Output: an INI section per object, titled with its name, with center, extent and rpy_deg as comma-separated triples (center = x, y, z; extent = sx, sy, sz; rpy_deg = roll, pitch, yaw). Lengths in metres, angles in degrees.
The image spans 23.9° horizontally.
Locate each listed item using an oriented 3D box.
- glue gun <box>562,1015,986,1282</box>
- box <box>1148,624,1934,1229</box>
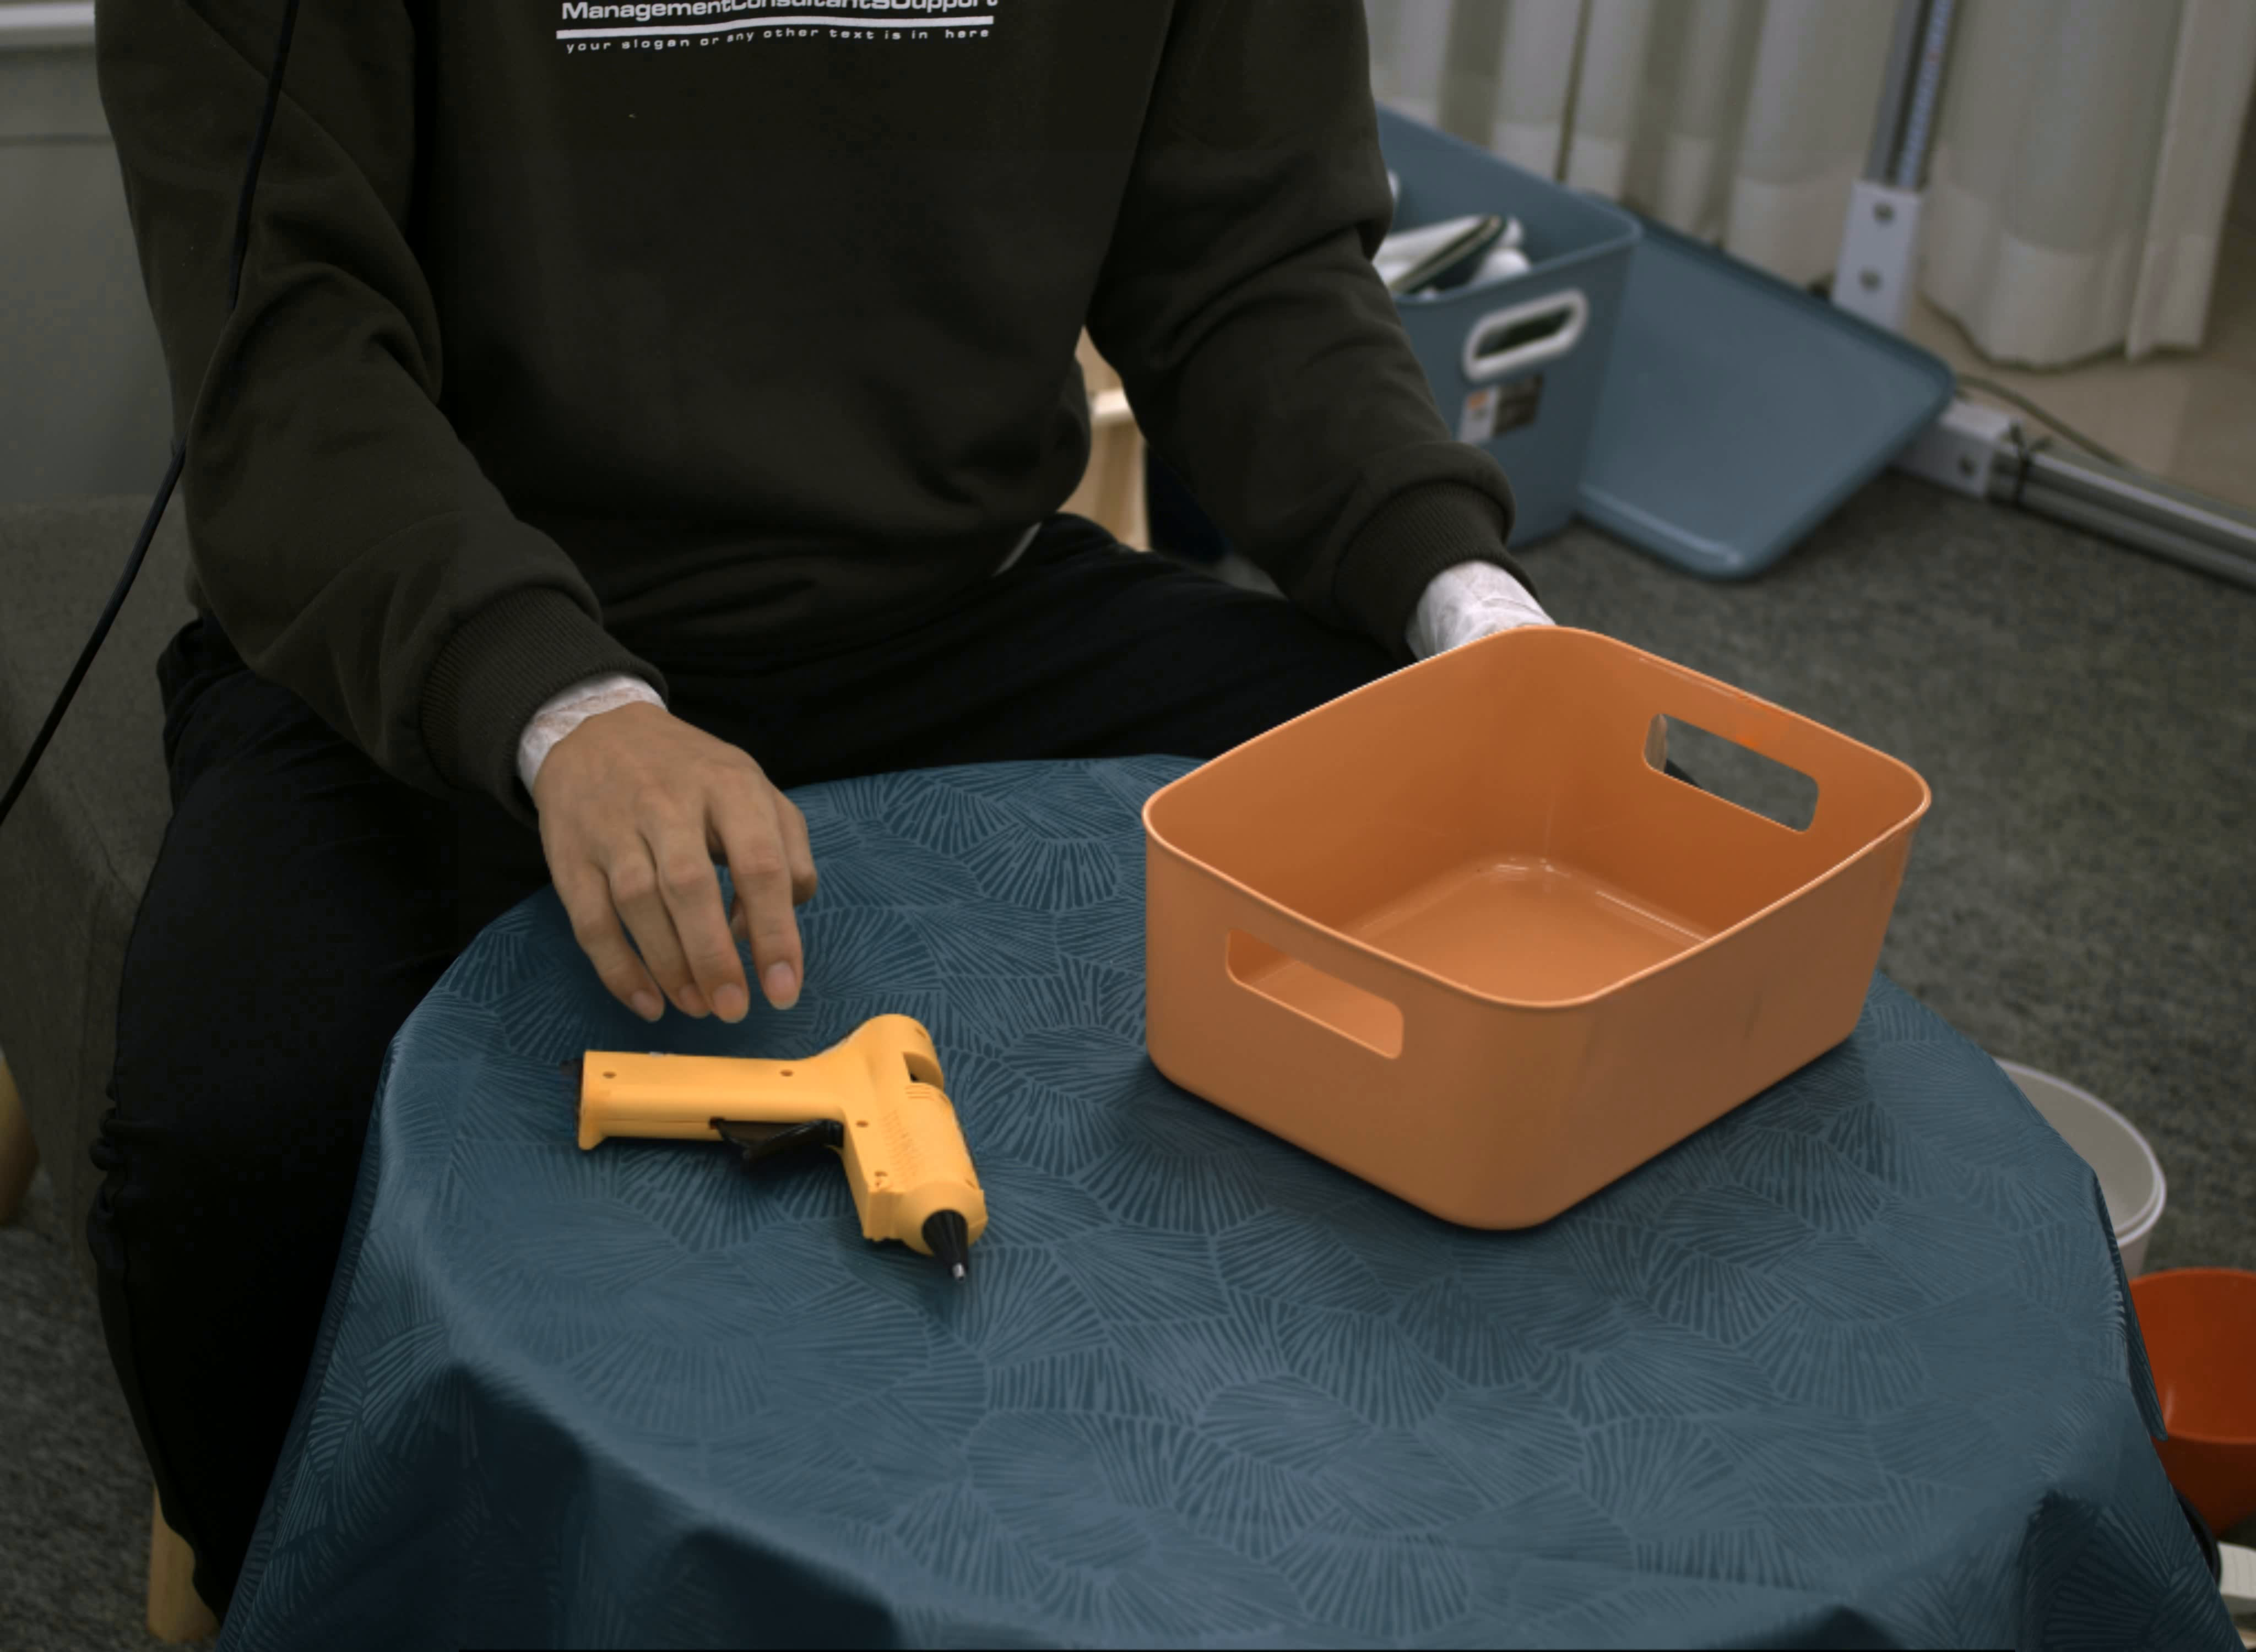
[glue gun]
center = -0.112, 0.114, 1.777
extent = 0.132, 0.031, 0.152
rpy_deg = -3, 28, -16
[box]
center = 0.142, 0.034, 1.905
extent = 0.201, 0.102, 0.272
rpy_deg = 25, 33, 32
